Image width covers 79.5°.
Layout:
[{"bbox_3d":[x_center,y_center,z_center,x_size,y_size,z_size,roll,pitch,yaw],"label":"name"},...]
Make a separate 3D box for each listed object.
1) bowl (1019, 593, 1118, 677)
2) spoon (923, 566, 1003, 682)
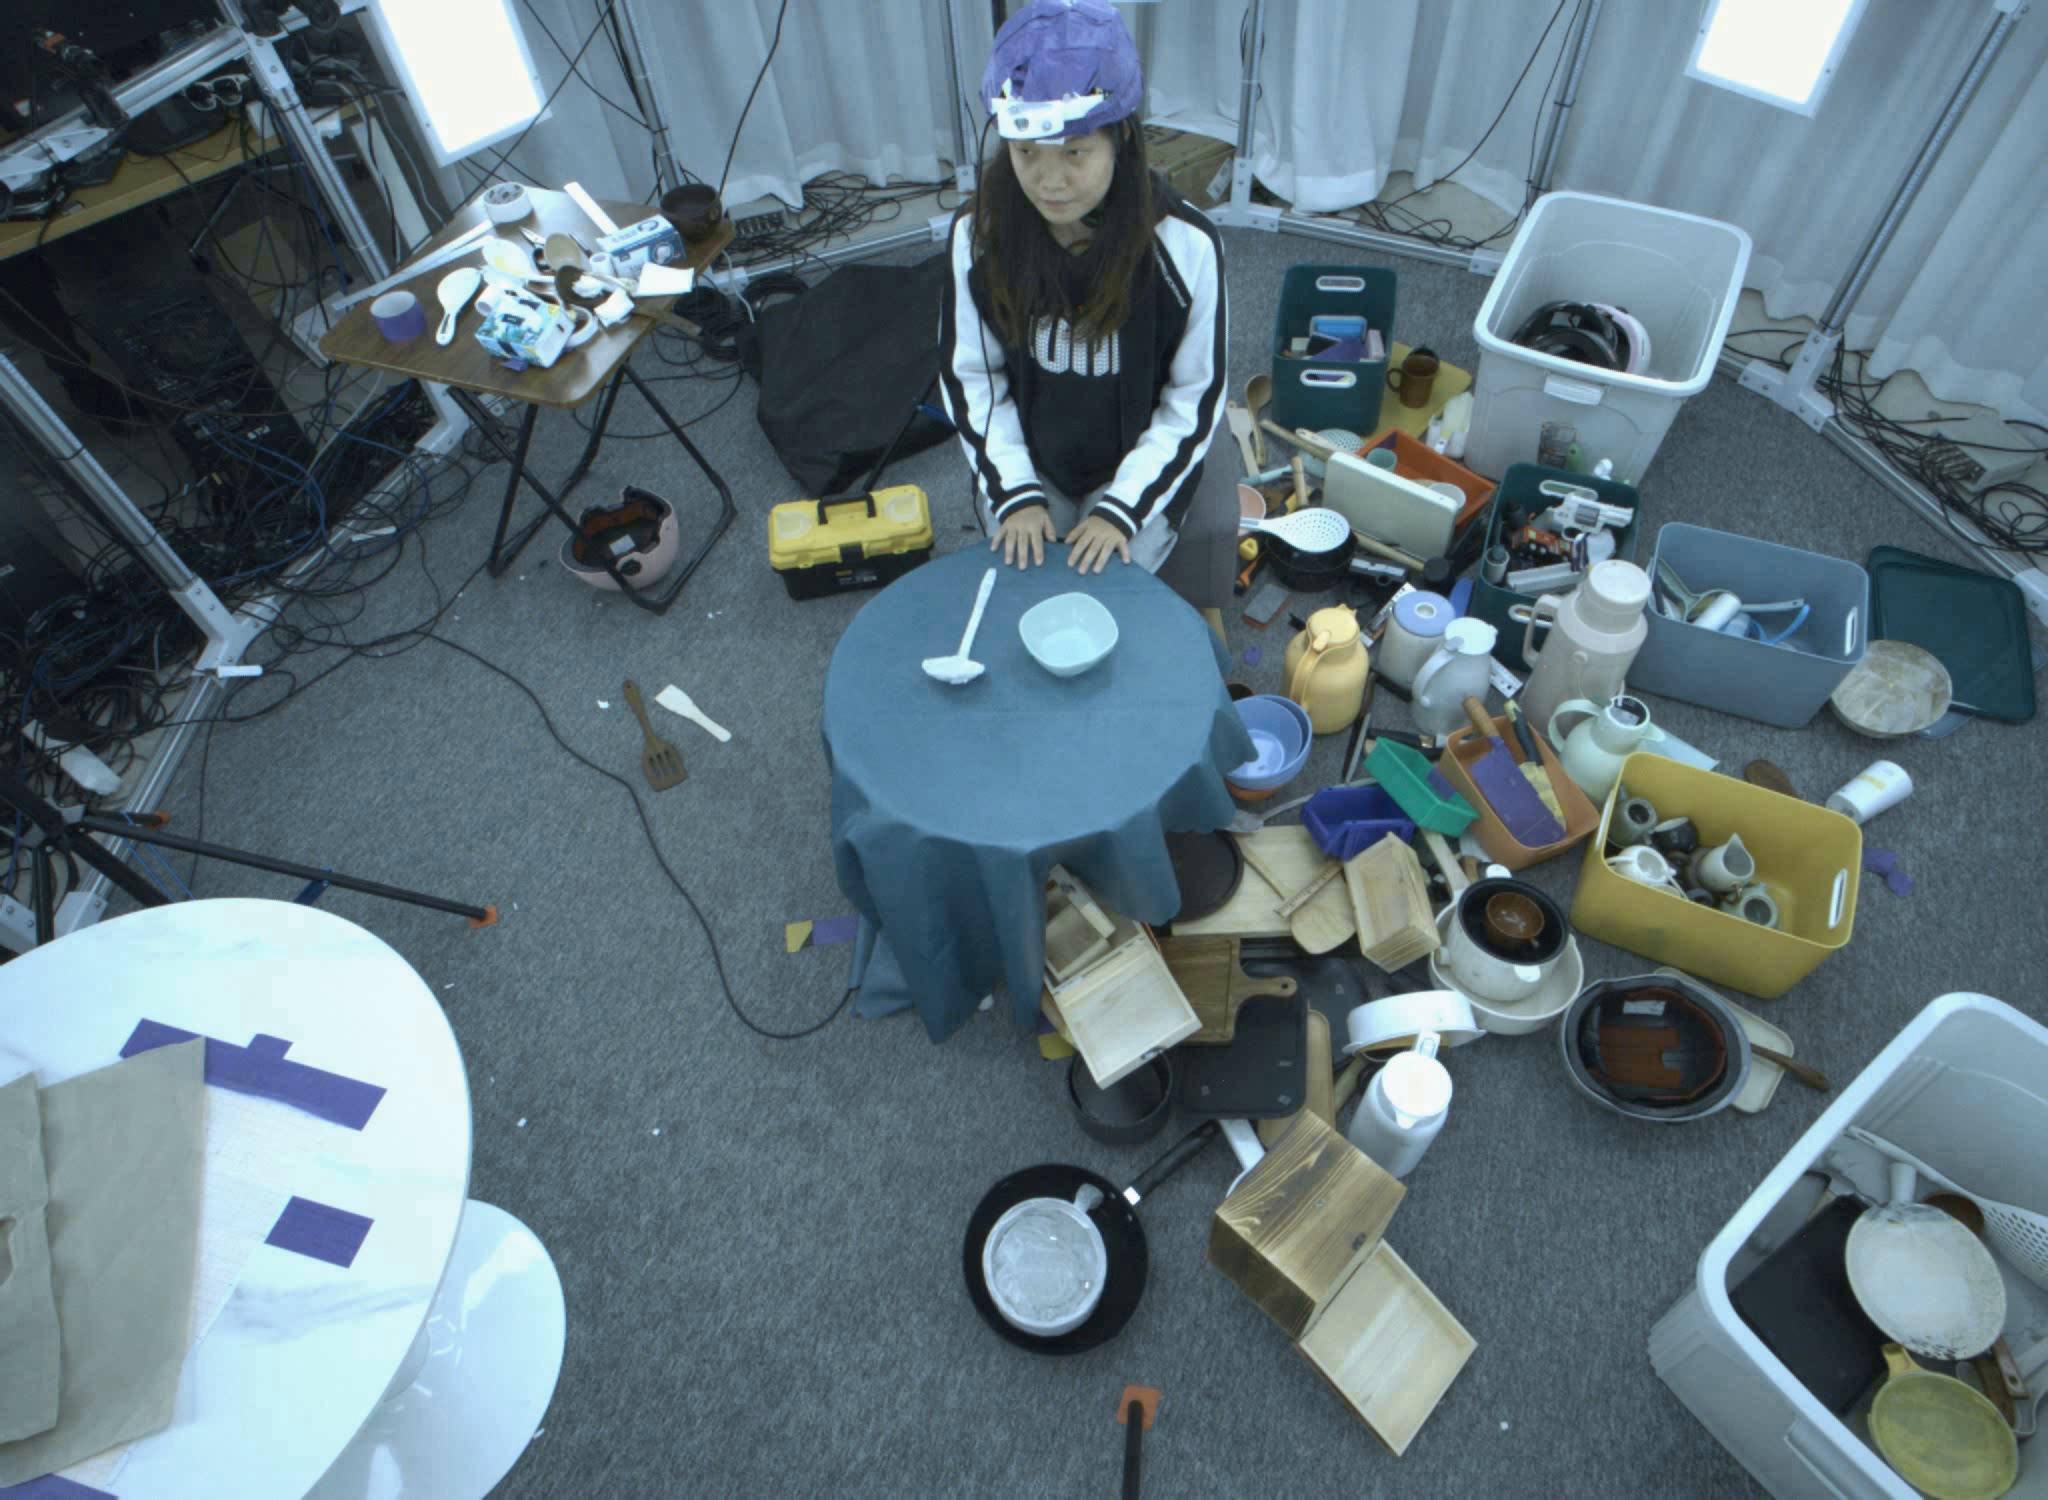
[{"bbox_3d":[0.068,-0.166,1.871,0.151,0.059,0.150,0,55,2],"label":"bowl"},{"bbox_3d":[-0.075,-0.203,1.899,0.100,0.060,0.276,15,57,7],"label":"spoon"}]
